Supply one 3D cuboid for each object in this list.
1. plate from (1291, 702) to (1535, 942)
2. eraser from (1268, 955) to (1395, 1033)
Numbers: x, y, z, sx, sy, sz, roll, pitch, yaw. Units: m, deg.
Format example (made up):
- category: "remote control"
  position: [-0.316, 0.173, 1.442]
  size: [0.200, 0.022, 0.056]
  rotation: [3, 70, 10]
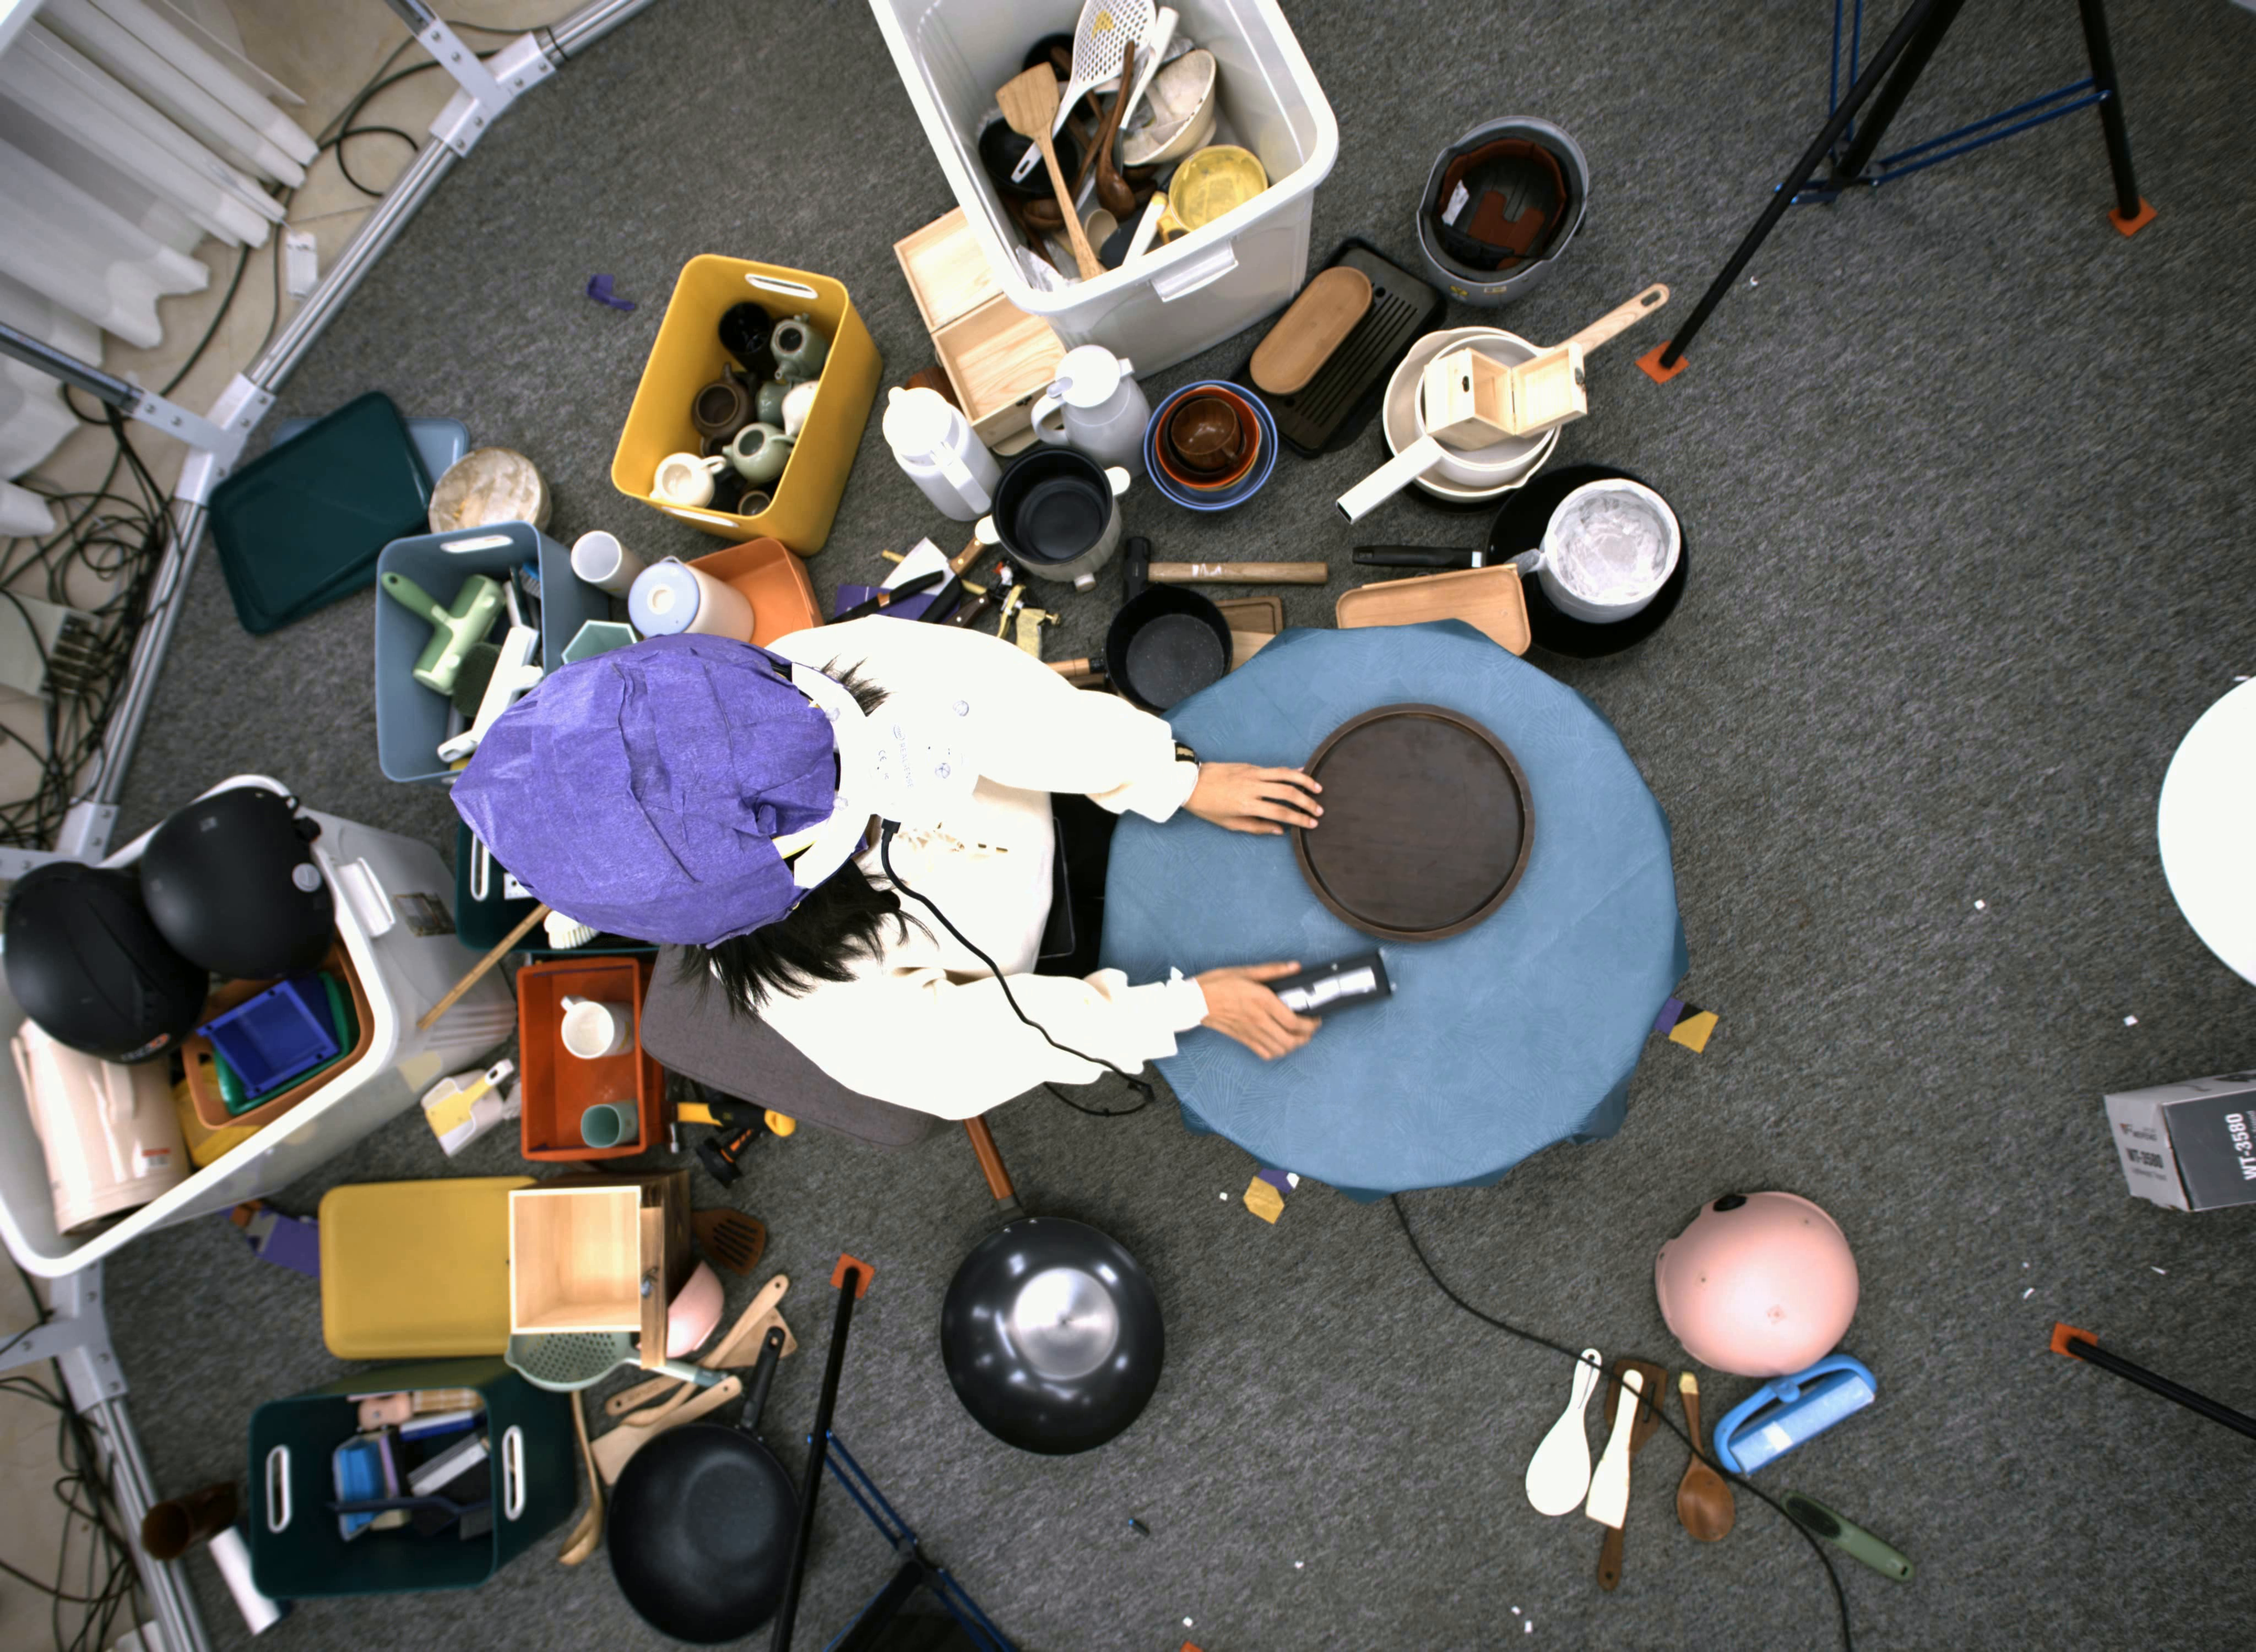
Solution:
- category: "plate"
  position: [0.297, -0.006, 1.447]
  size: [0.256, 0.029, 0.253]
  rotation: [-1, 87, 9]
- category: "eraser"
  position: [0.211, 0.172, 1.433]
  size: [0.127, 0.030, 0.053]
  rotation: [-17, 83, 18]
